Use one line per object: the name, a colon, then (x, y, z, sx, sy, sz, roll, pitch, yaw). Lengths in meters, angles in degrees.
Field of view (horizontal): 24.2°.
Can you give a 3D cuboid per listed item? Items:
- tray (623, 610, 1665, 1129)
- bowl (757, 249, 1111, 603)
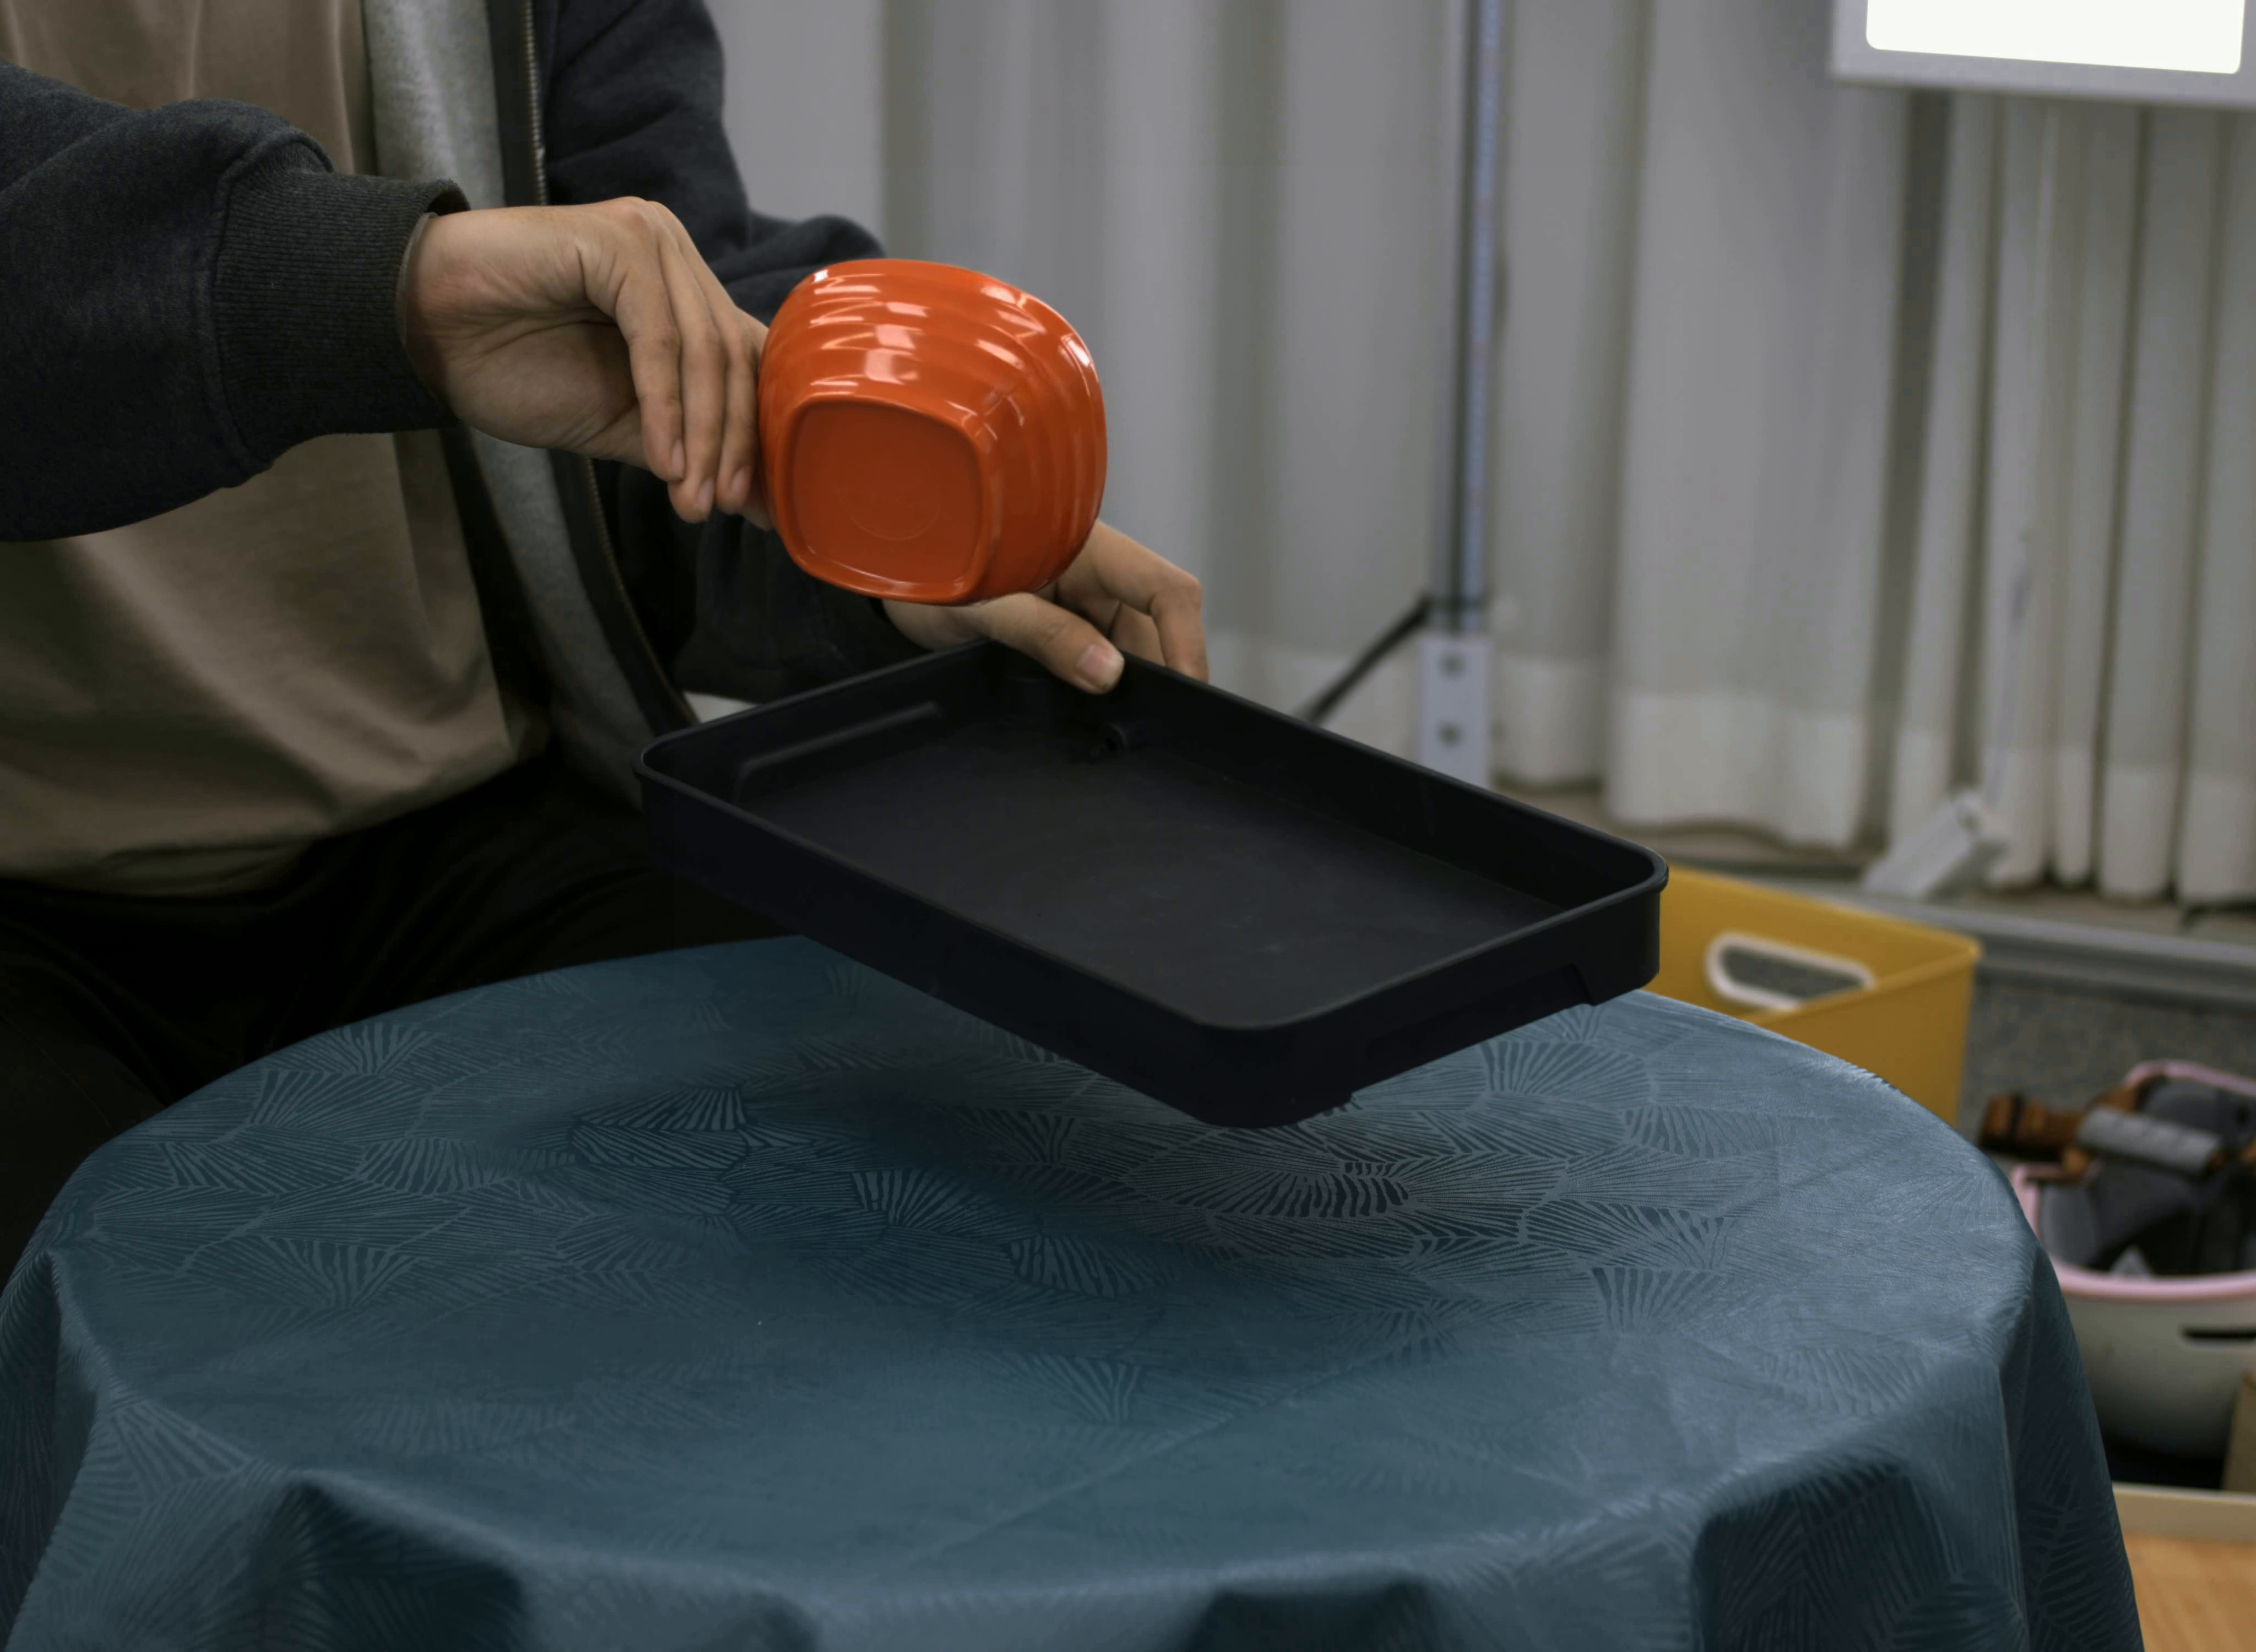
tray: (0.000, 0.007, 1.645, 0.185, 0.037, 0.313, -19, 29, -37)
bowl: (-0.064, -0.109, 1.555, 0.118, 0.120, 0.051, 6, 34, 17)
